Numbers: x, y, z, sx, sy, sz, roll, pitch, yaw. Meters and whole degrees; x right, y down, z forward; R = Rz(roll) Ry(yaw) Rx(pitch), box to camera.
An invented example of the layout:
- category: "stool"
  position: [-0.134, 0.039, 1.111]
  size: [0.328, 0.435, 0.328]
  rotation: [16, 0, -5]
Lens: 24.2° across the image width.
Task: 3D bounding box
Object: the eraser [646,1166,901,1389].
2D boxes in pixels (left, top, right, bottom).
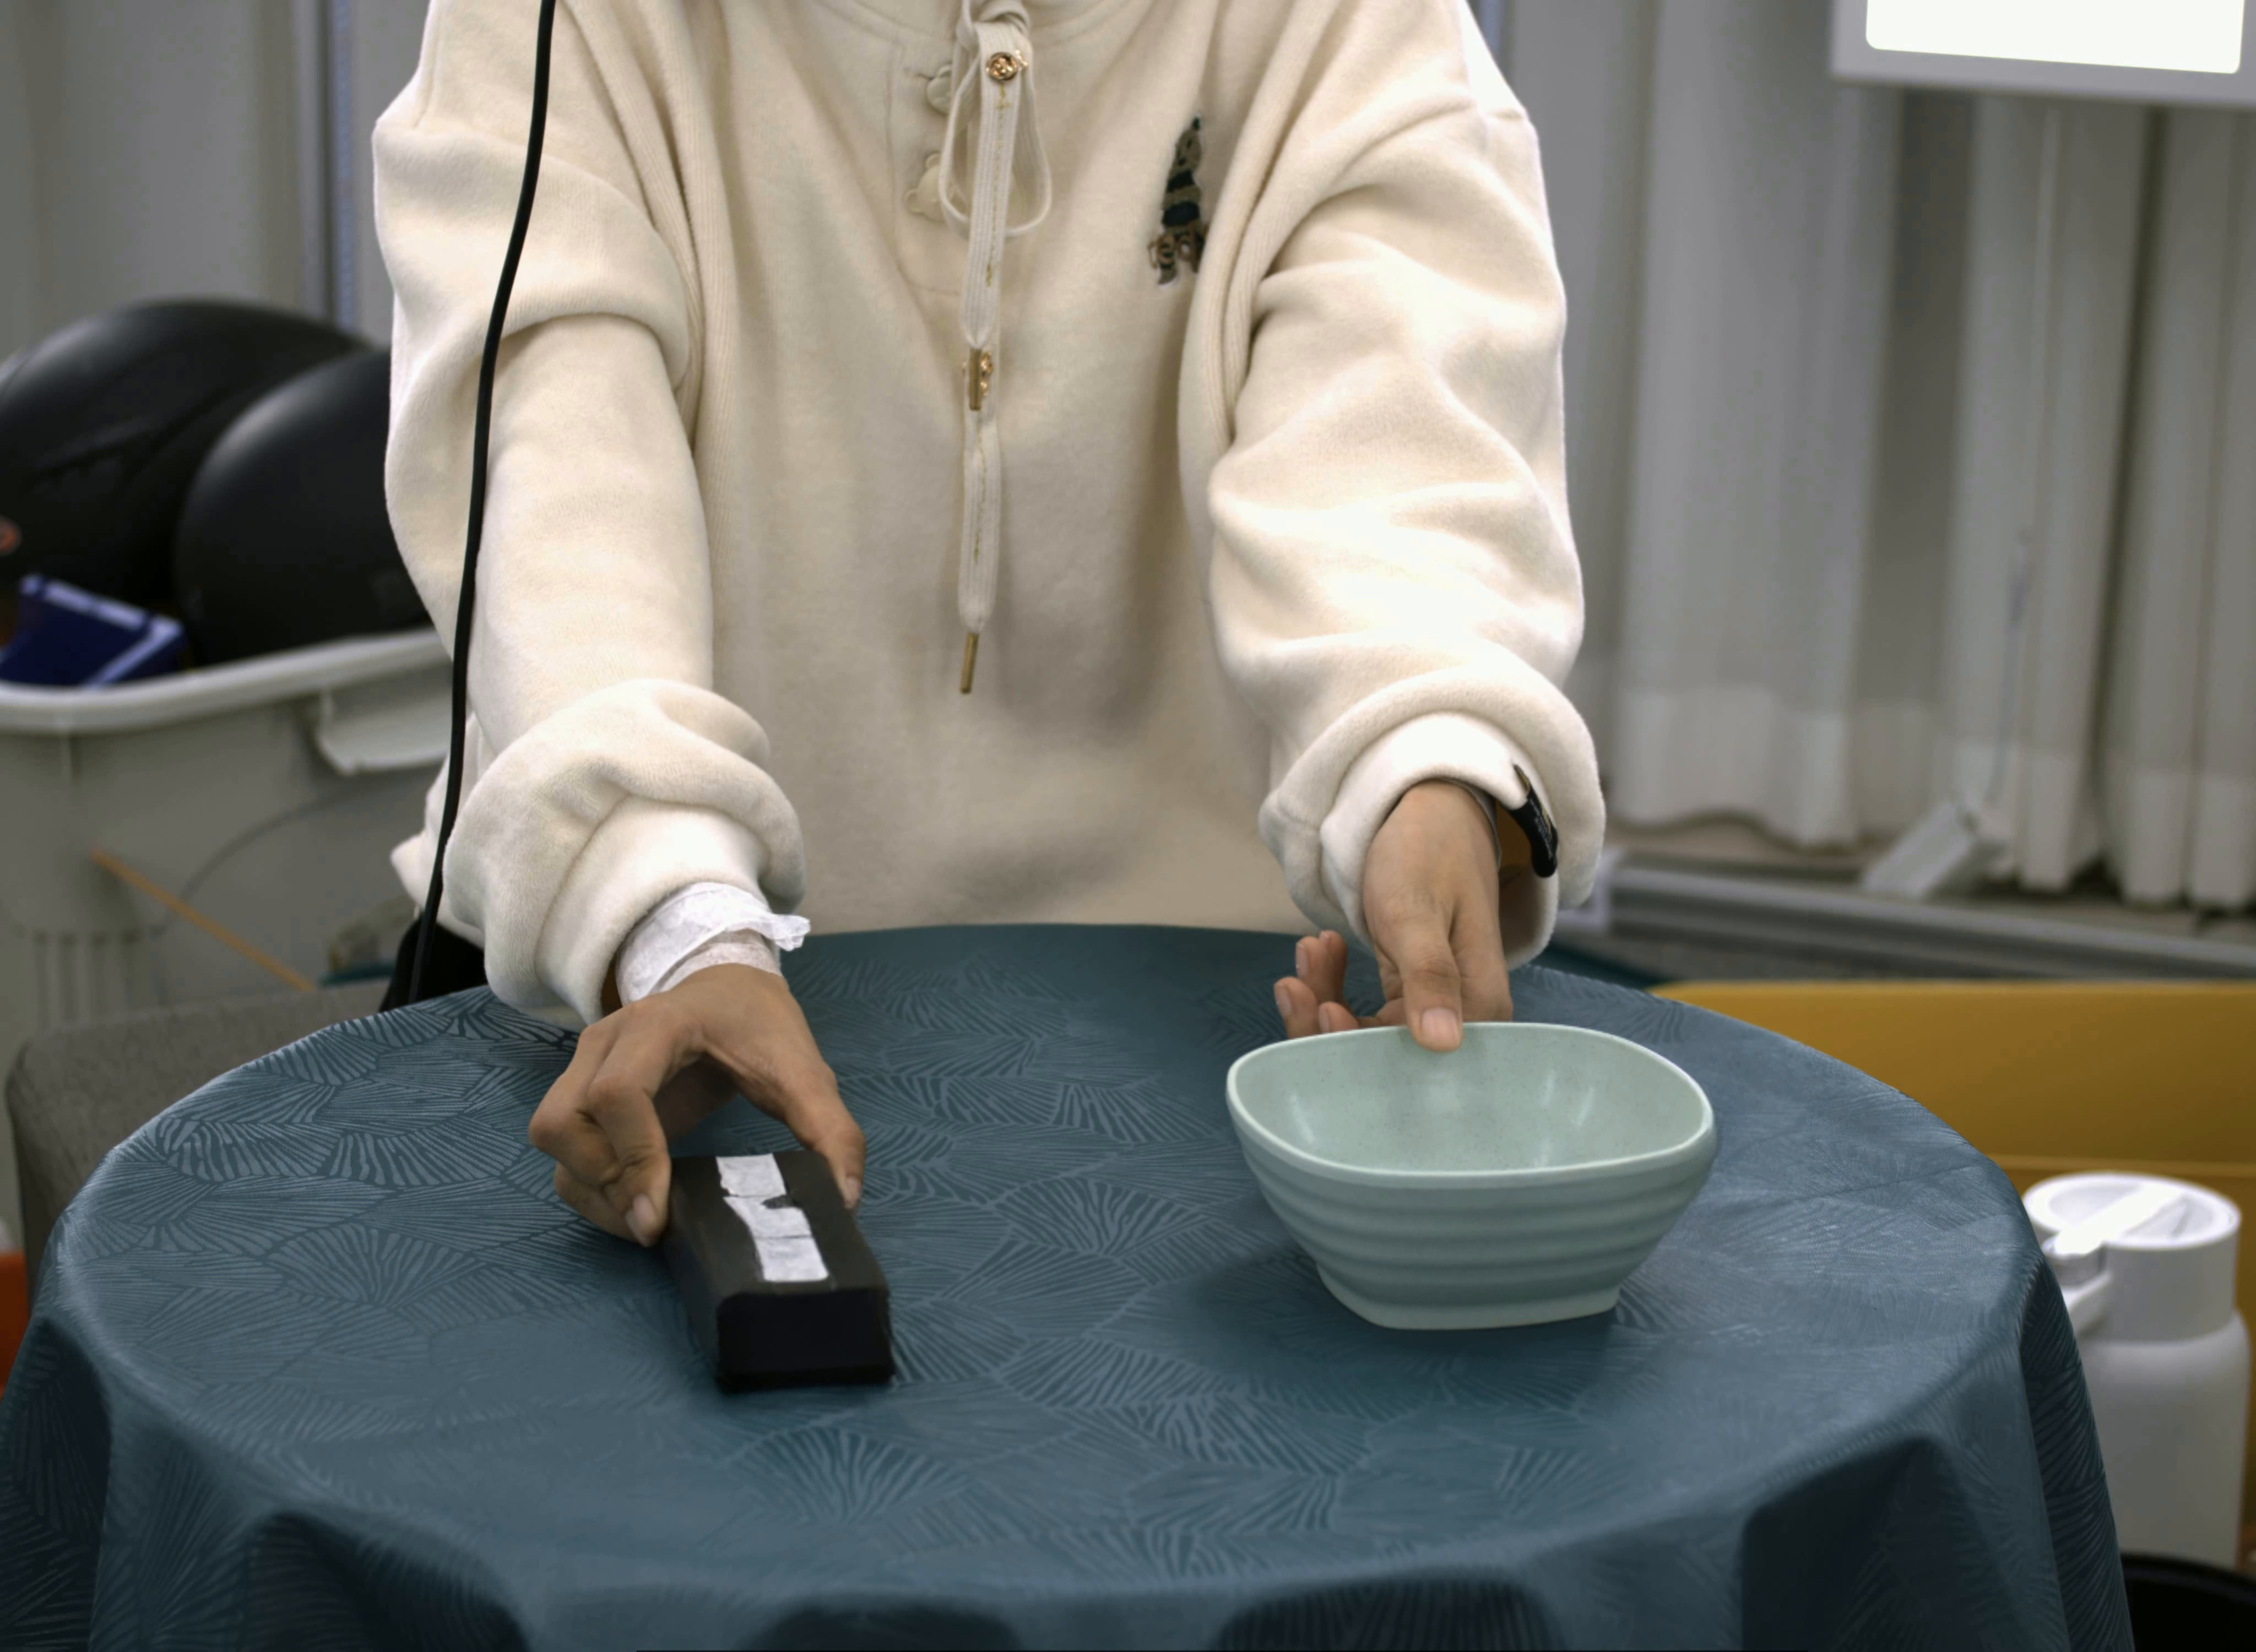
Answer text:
- category: "eraser"
  position: [-0.103, 0.128, 1.509]
  size: [0.053, 0.030, 0.124]
  rotation: [-1, 13, -14]

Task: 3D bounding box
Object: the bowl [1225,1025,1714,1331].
- category: "bowl"
  position: [0.097, 0.106, 1.541]
  size: [0.151, 0.059, 0.150]
  rotation: [3, 15, 0]
